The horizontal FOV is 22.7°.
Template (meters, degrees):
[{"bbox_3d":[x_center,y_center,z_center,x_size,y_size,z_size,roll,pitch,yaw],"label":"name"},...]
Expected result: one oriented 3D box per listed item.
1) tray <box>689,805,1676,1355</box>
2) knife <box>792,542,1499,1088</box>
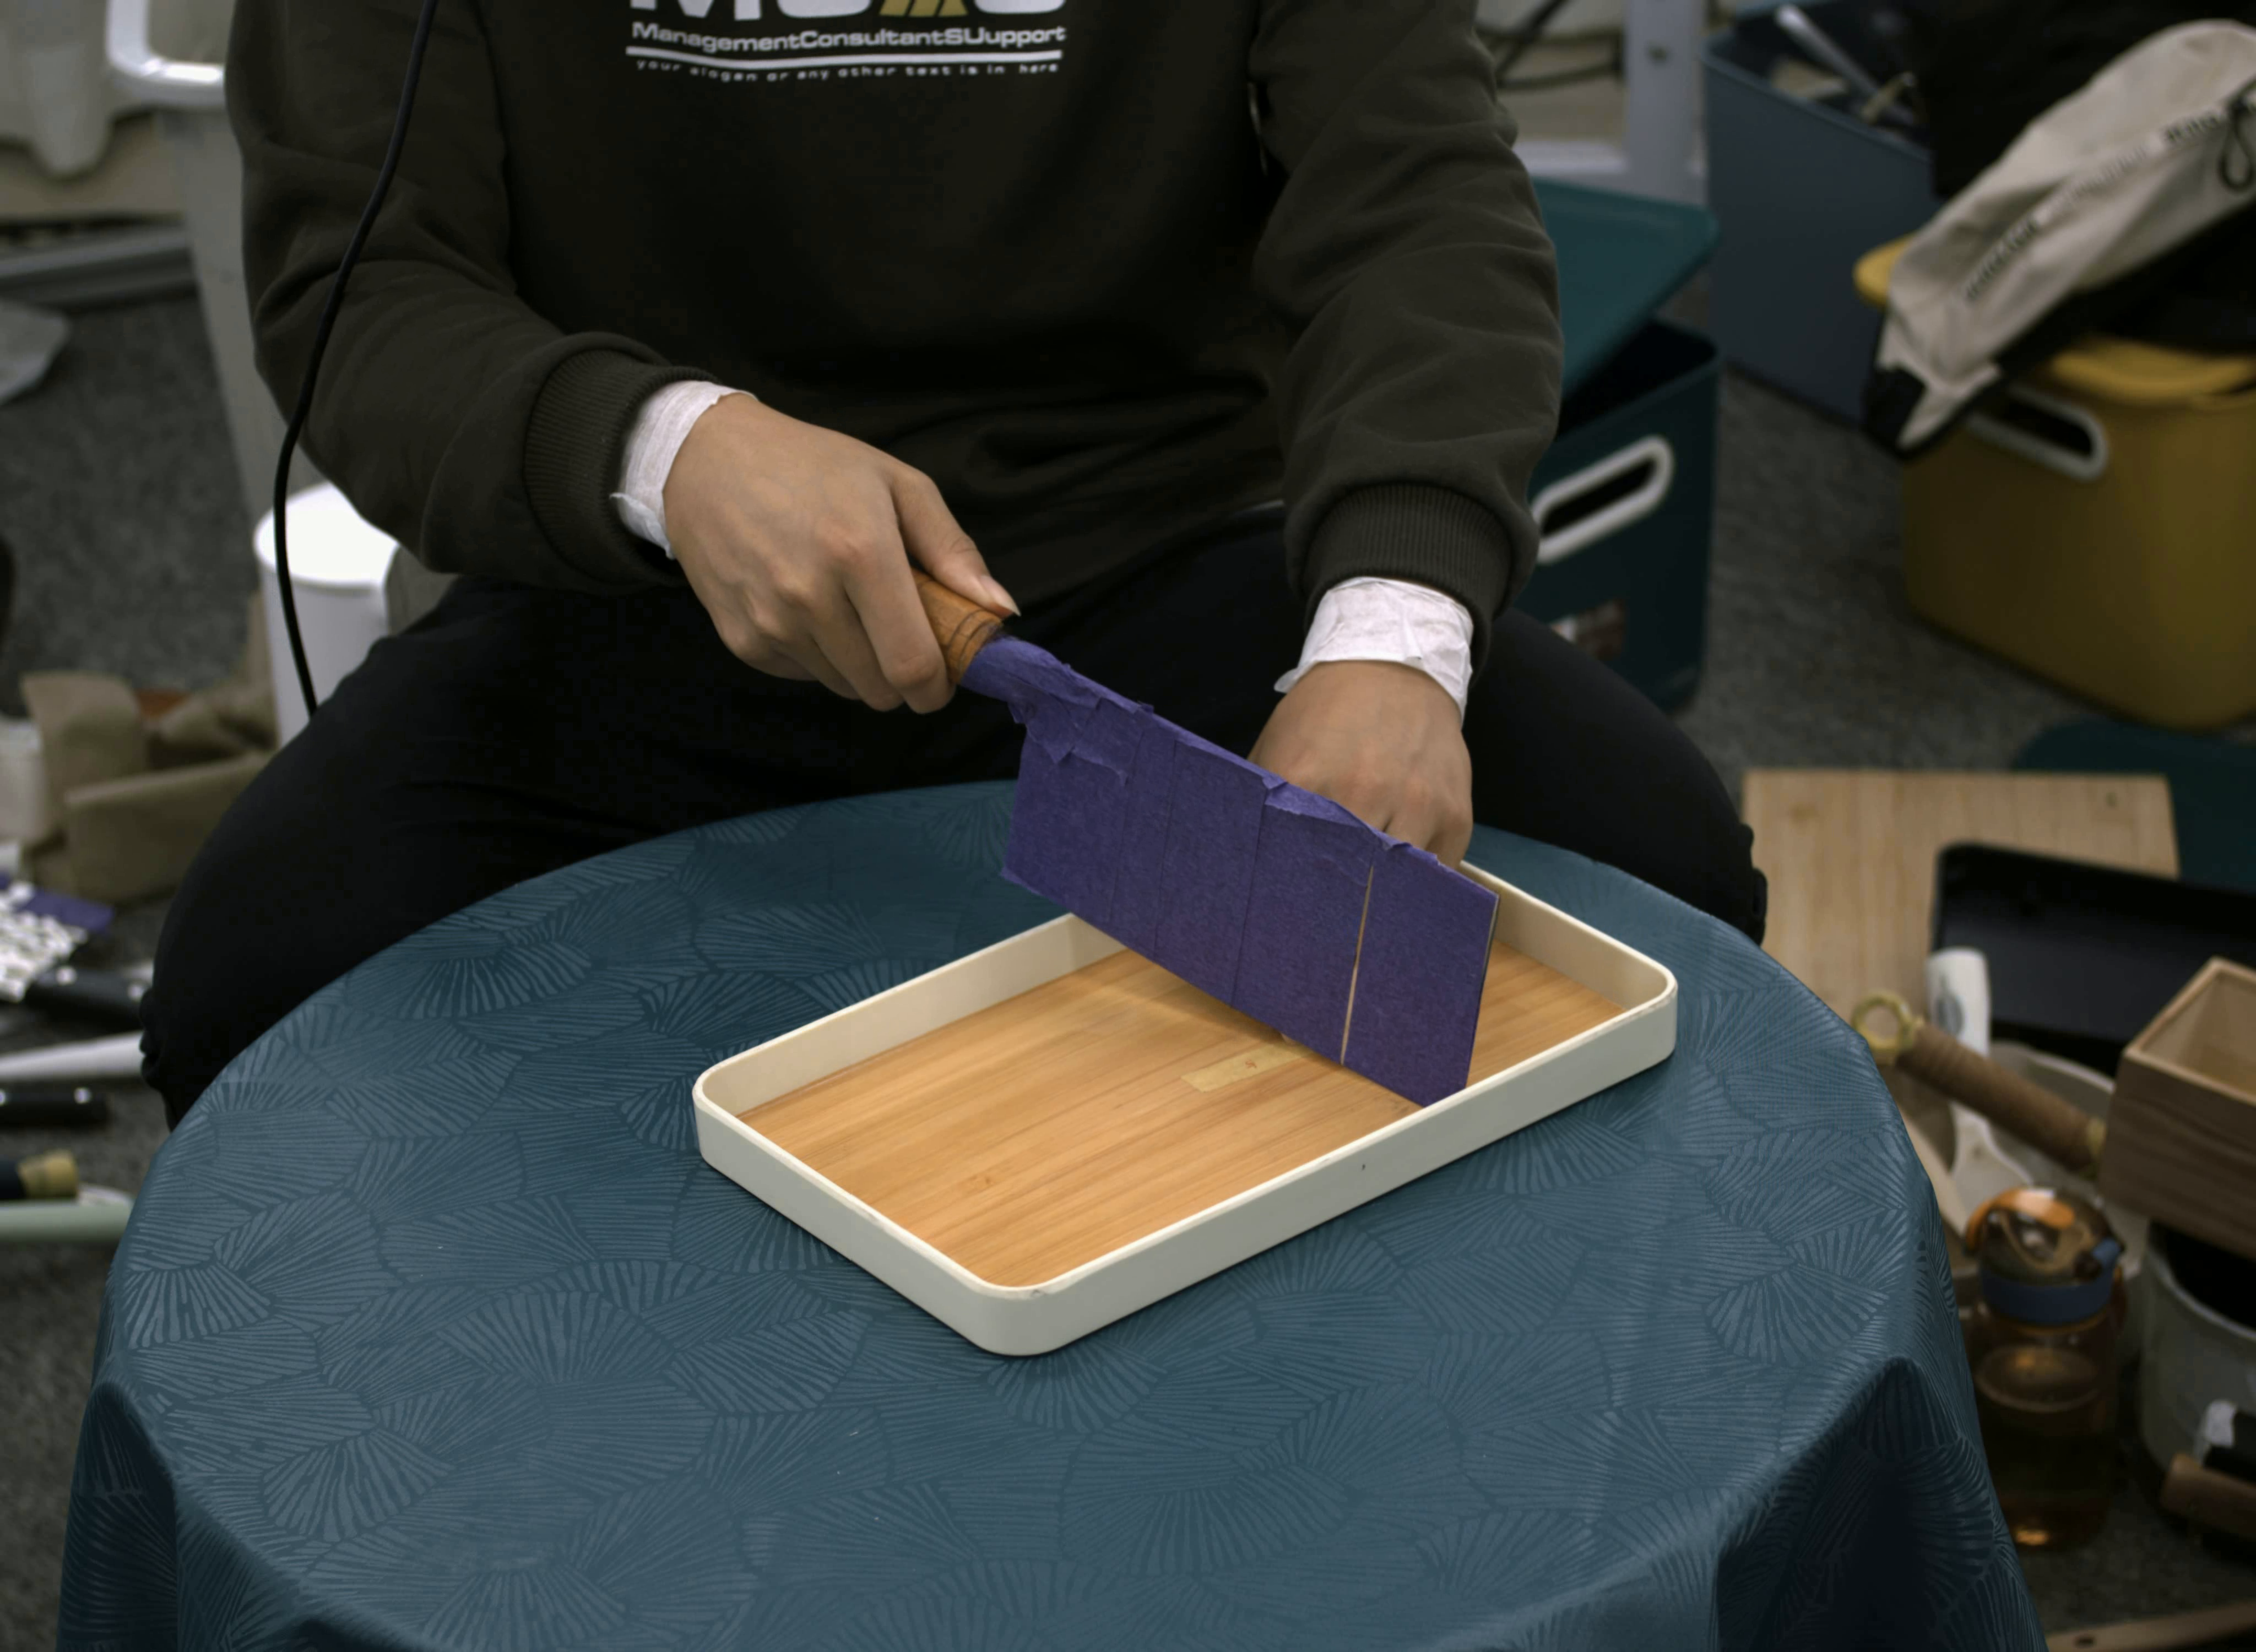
[{"bbox_3d":[0.020,0.081,1.909,0.303,0.027,0.192,-22,33,-33],"label":"tray"},{"bbox_3d":[-0.002,-0.002,1.944,0.315,0.103,0.032,28,29,34],"label":"knife"}]
